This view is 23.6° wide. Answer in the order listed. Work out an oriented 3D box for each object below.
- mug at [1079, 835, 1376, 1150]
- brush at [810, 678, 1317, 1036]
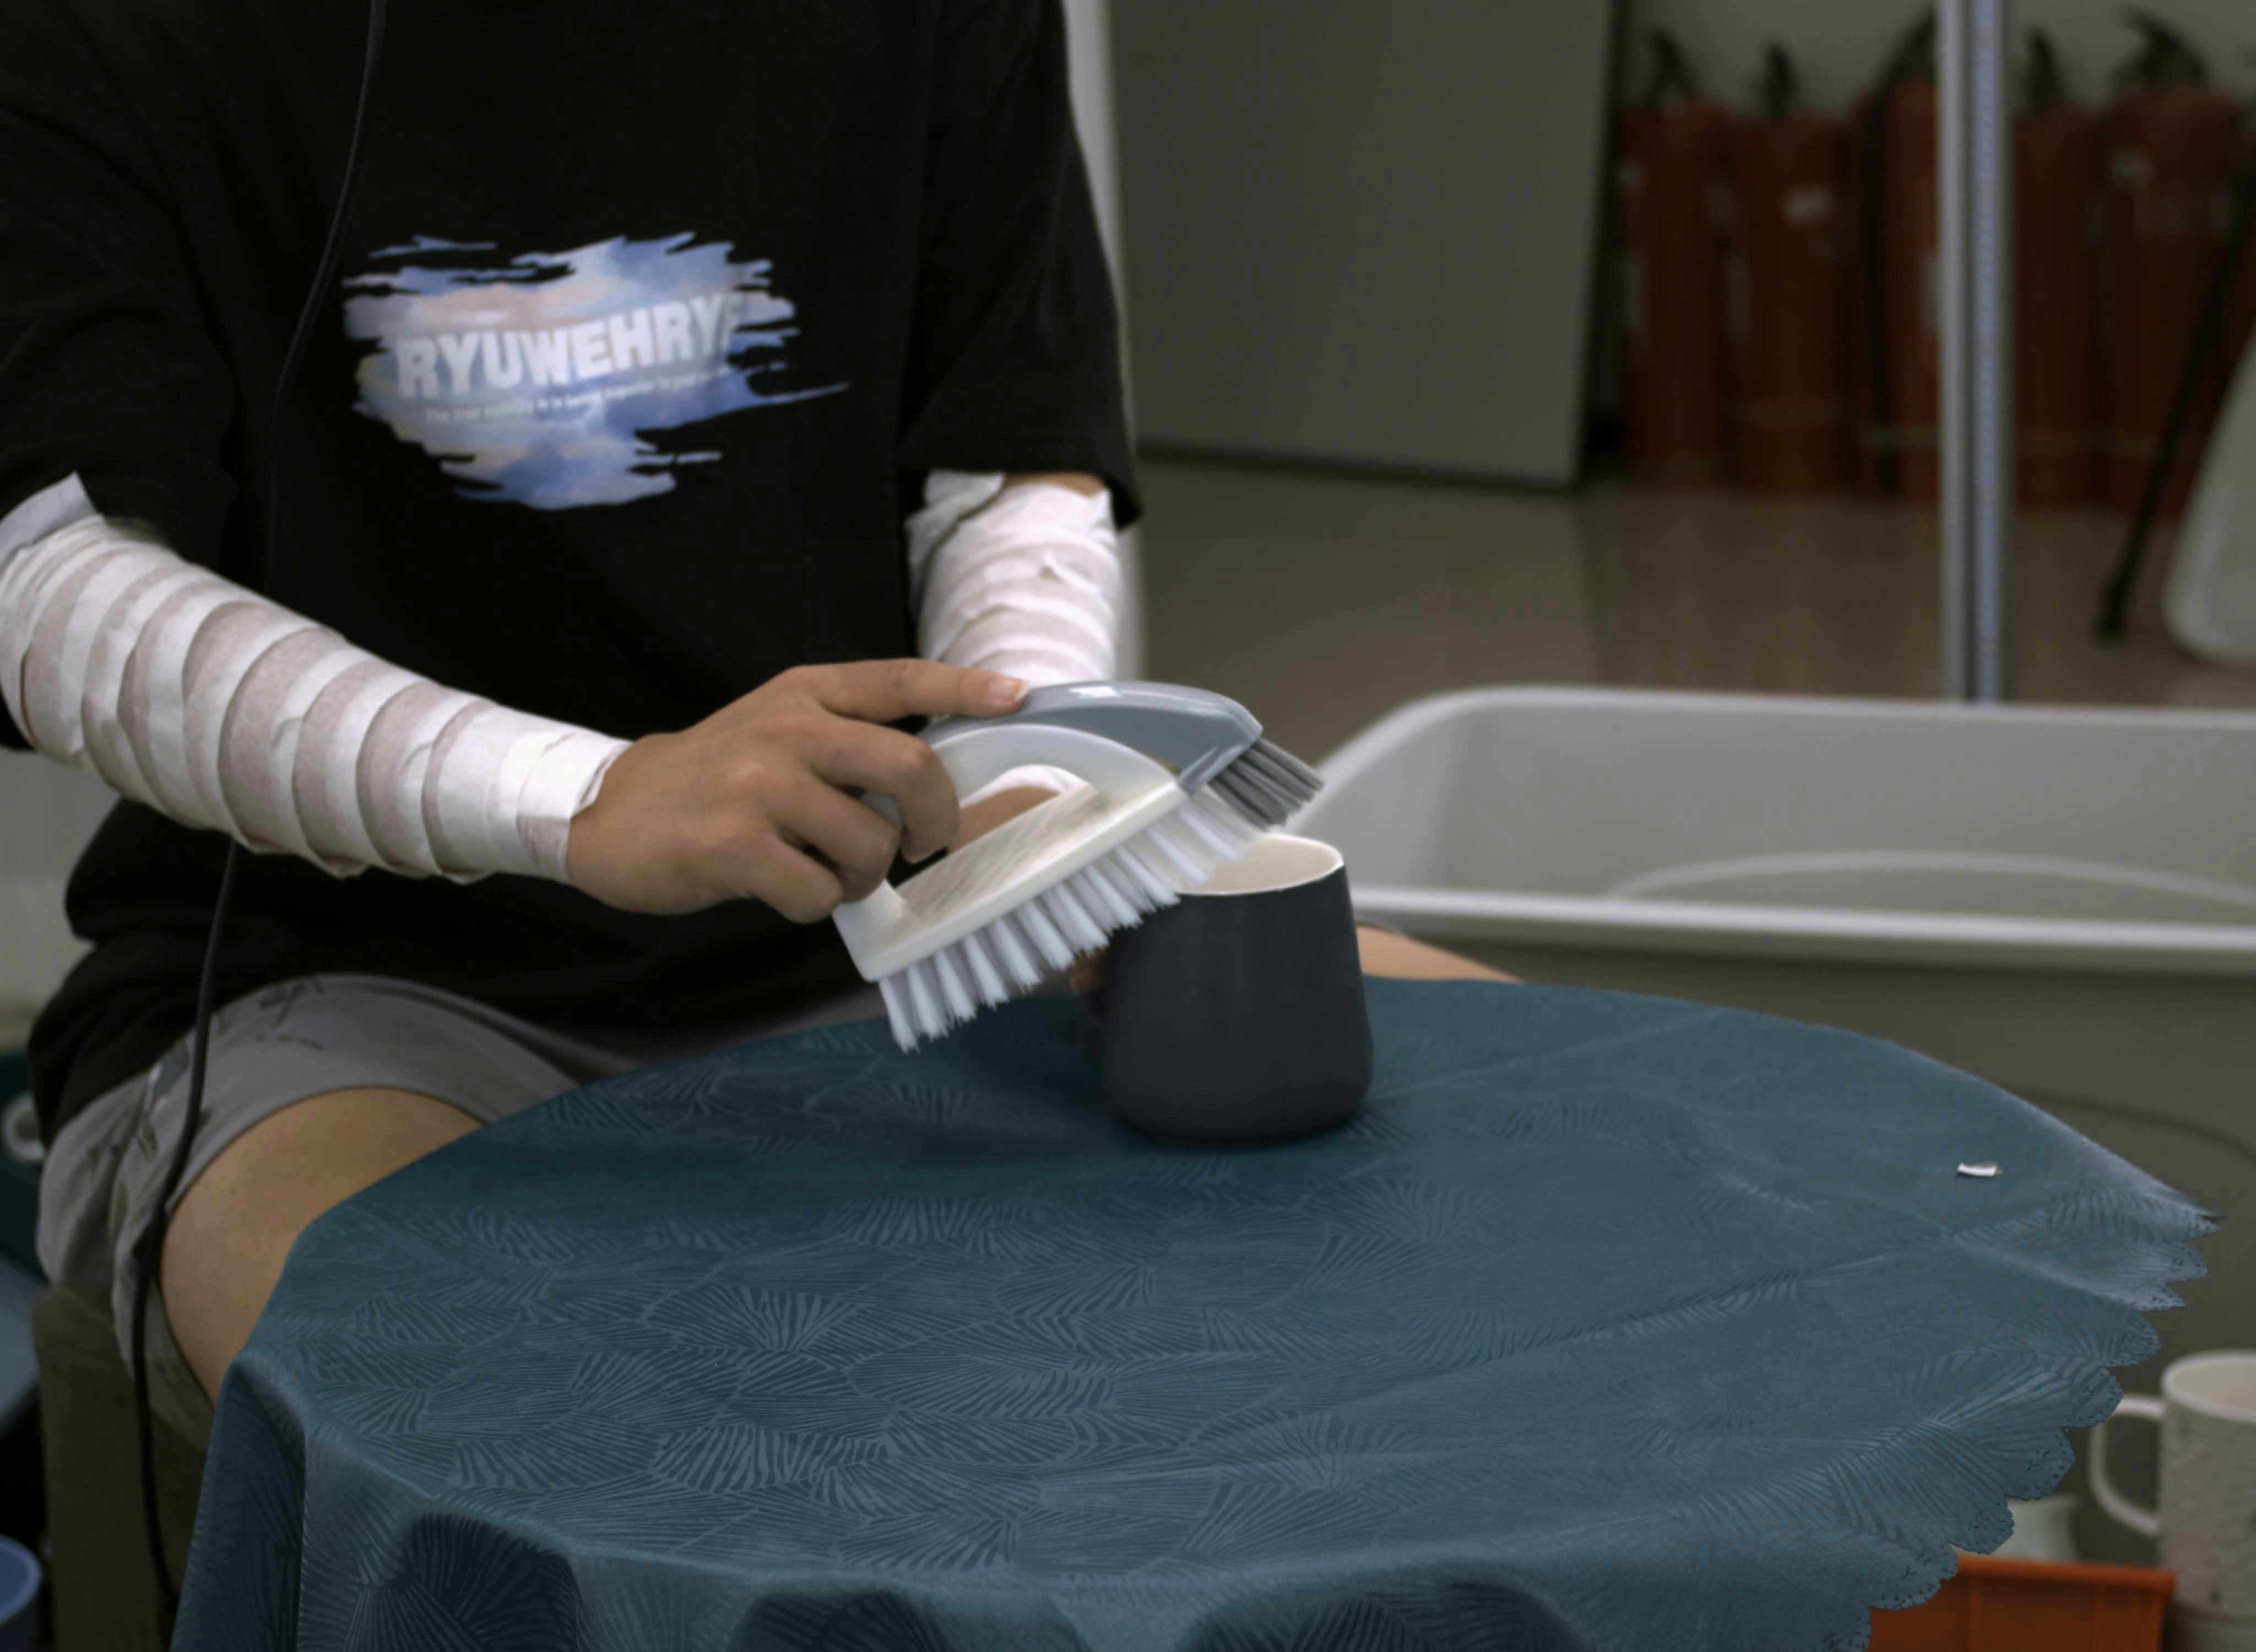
[{"bbox_3d":[0.027,0.054,1.849,0.091,0.091,0.124,-15,17,-37],"label":"mug"},{"bbox_3d":[-0.030,-0.006,1.811,0.176,0.094,0.061,-27,24,25],"label":"brush"}]
